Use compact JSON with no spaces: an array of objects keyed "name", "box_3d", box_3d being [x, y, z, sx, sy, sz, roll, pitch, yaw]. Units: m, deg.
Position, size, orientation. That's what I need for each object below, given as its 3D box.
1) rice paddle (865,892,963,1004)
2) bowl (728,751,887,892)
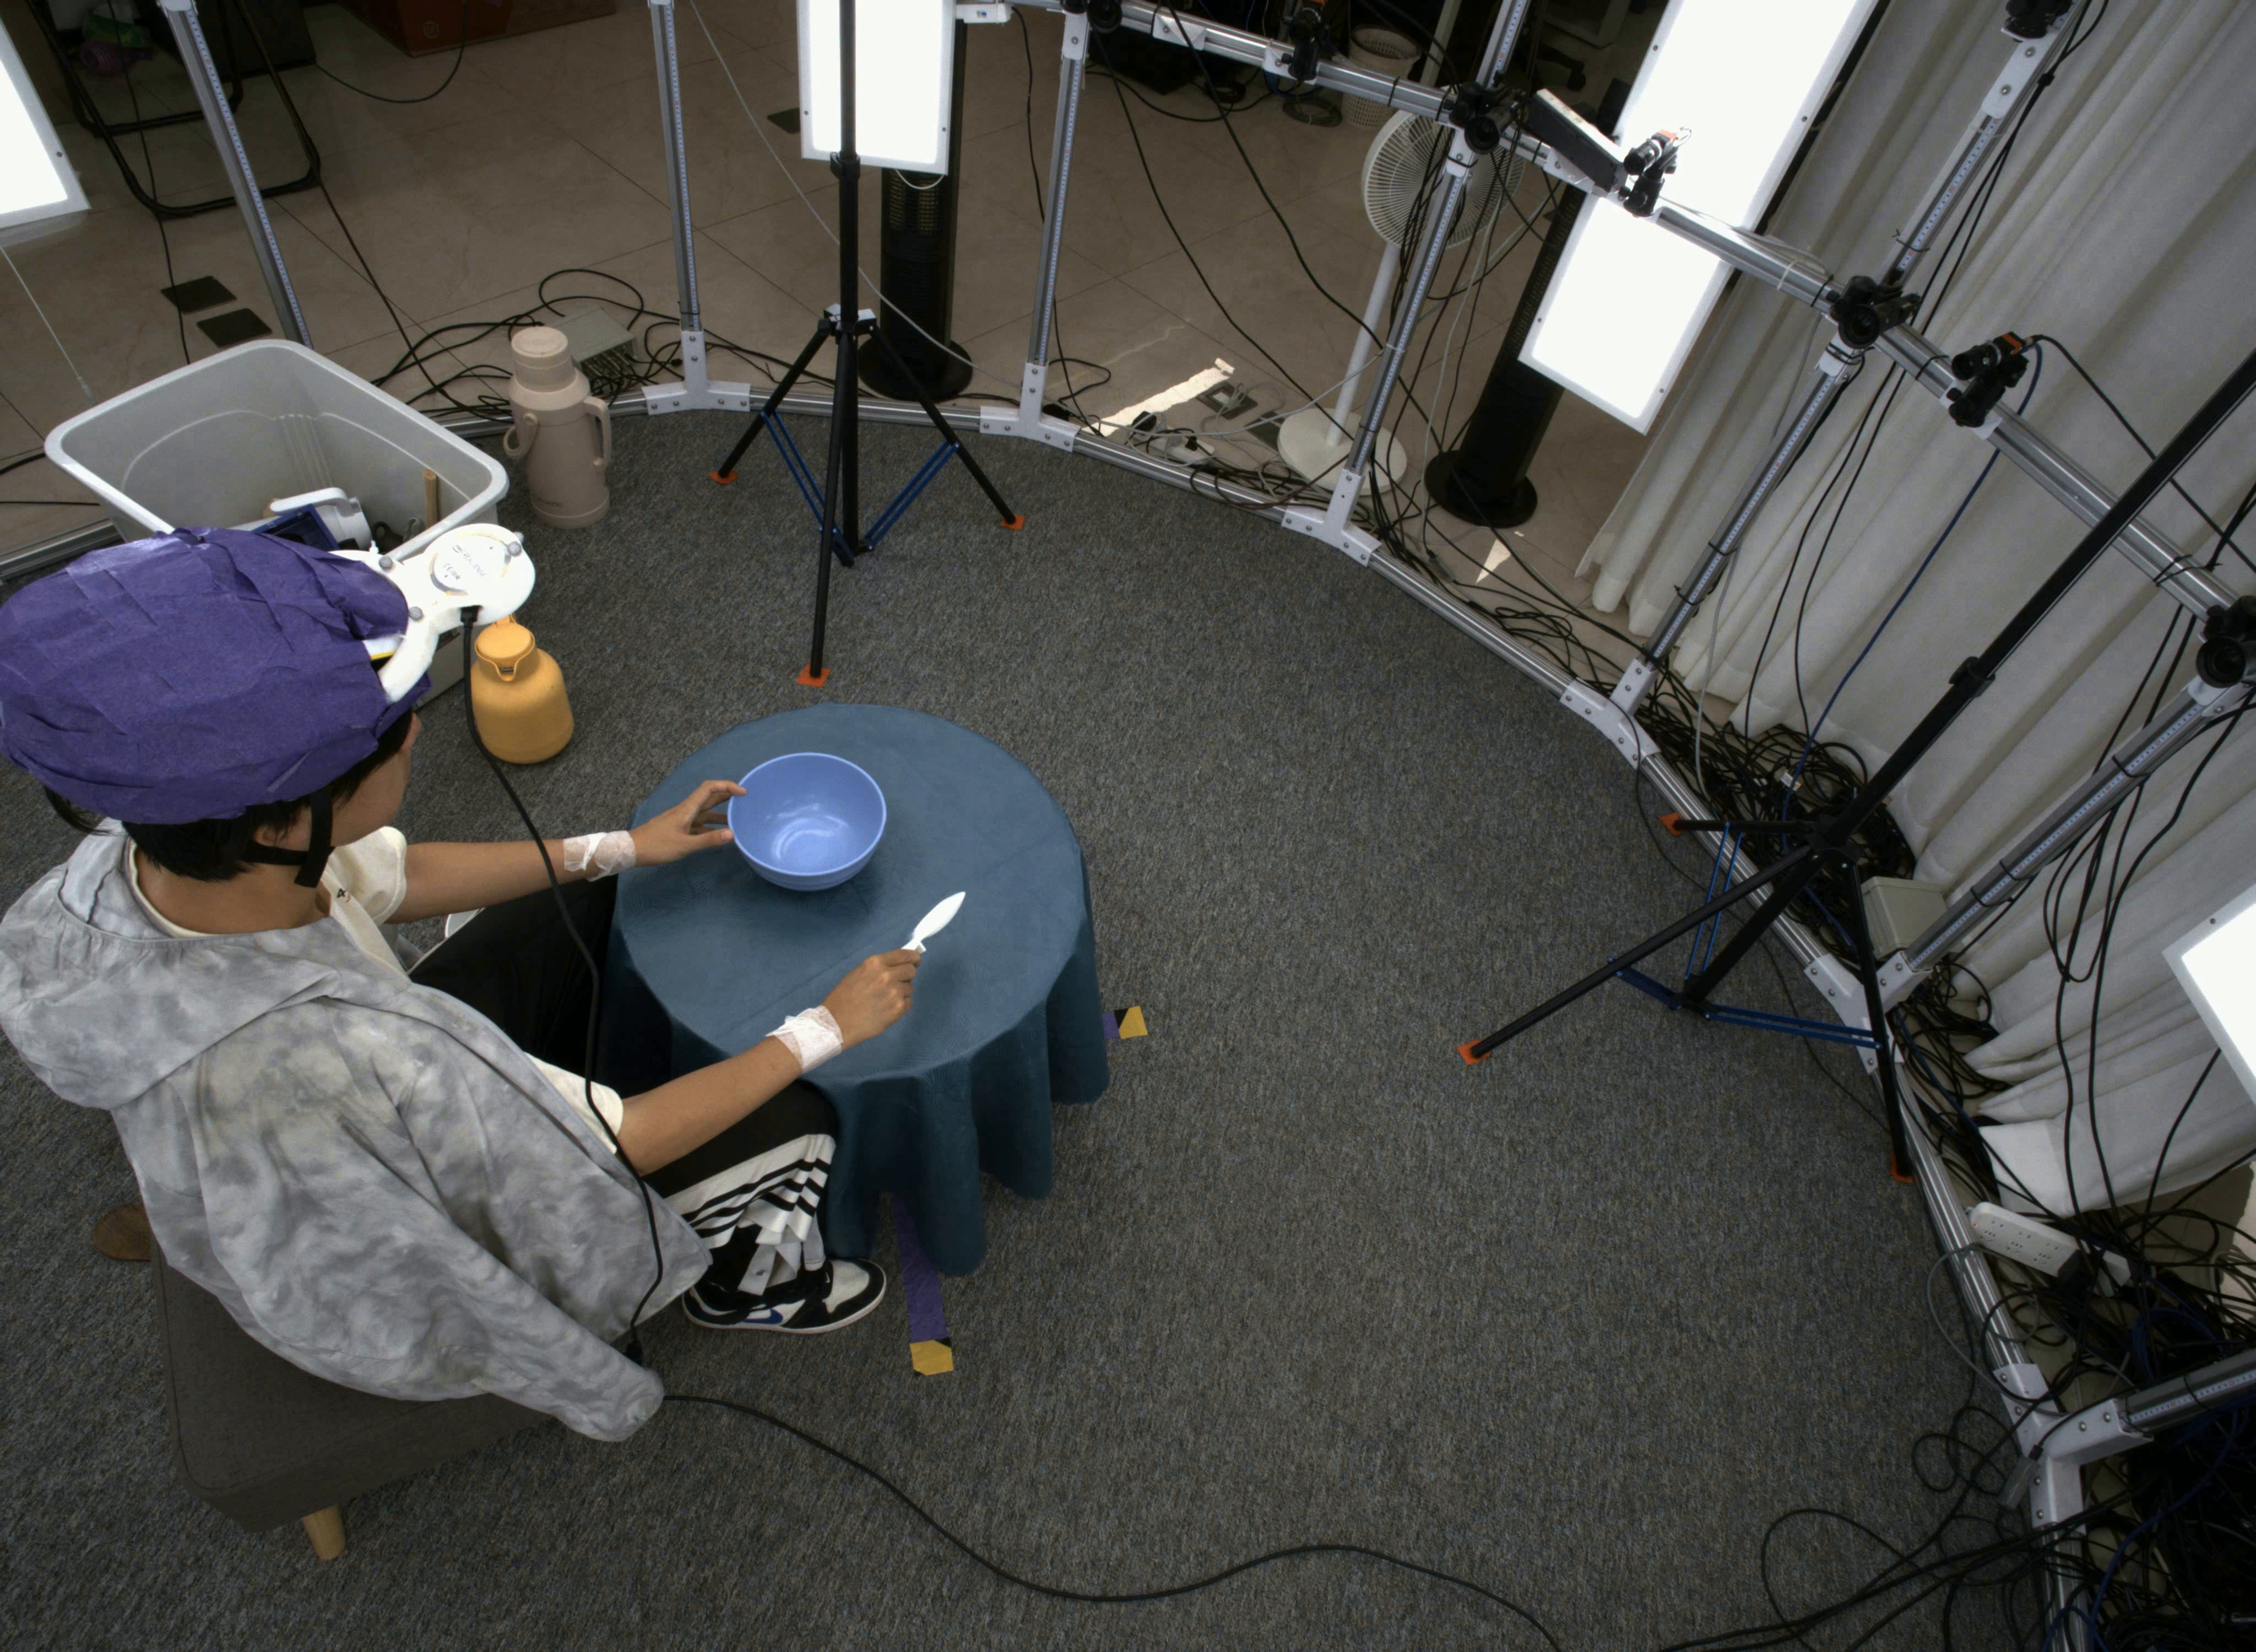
[{"name":"rice paddle","box_3d":[-0.249,0.133,1.531,0.030,0.068,0.203,53,34,-14]},{"name":"bowl","box_3d":[-0.409,0.009,1.661,0.196,0.097,0.193,9,51,-9]}]
